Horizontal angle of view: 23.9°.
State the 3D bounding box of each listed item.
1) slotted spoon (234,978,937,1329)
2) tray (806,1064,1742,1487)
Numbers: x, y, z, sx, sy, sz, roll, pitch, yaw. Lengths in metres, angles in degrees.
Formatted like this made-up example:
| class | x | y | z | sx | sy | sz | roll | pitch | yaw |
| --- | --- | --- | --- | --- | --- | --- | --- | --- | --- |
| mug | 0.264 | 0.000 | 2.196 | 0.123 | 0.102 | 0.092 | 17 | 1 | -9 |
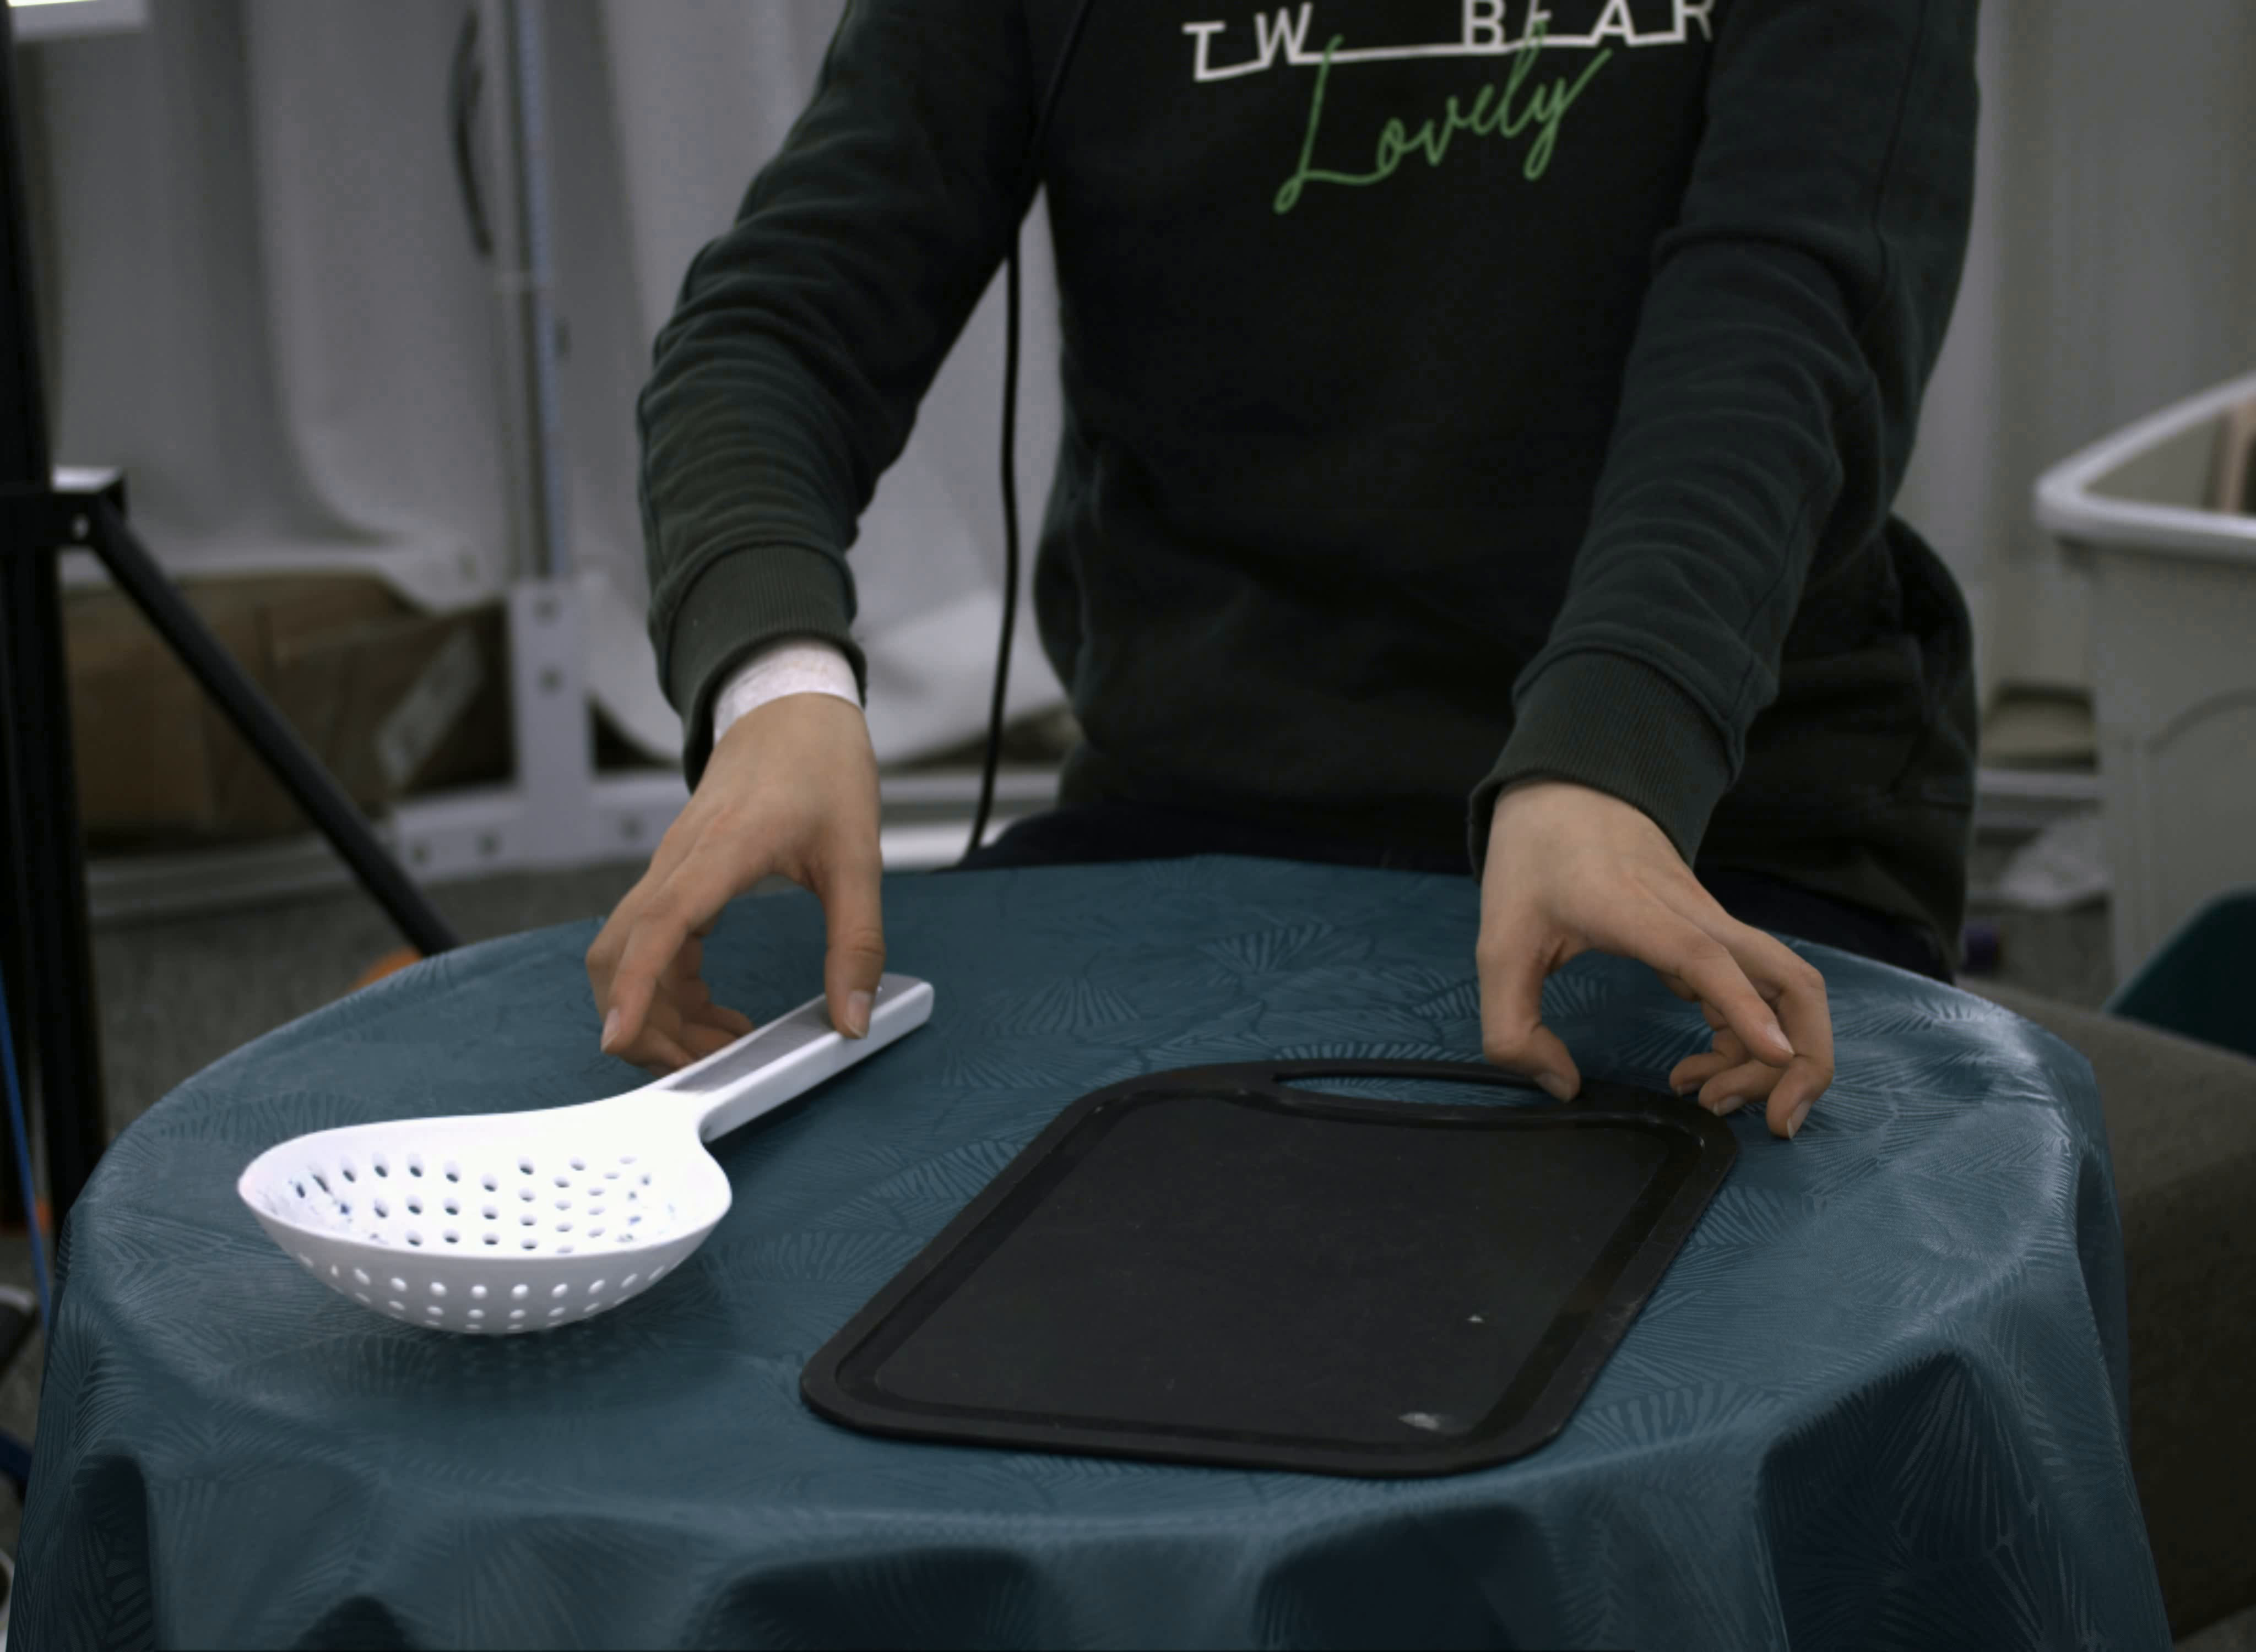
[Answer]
| class | x | y | z | sx | sy | sz | roll | pitch | yaw |
| --- | --- | --- | --- | --- | --- | --- | --- | --- | --- |
| slotted spoon | -0.138 | 0.087 | 1.572 | 0.138 | 0.046 | 0.345 | 8 | 18 | 21 |
| tray | 0.050 | 0.118 | 1.502 | 0.213 | 0.010 | 0.322 | 3 | 16 | 19 |
